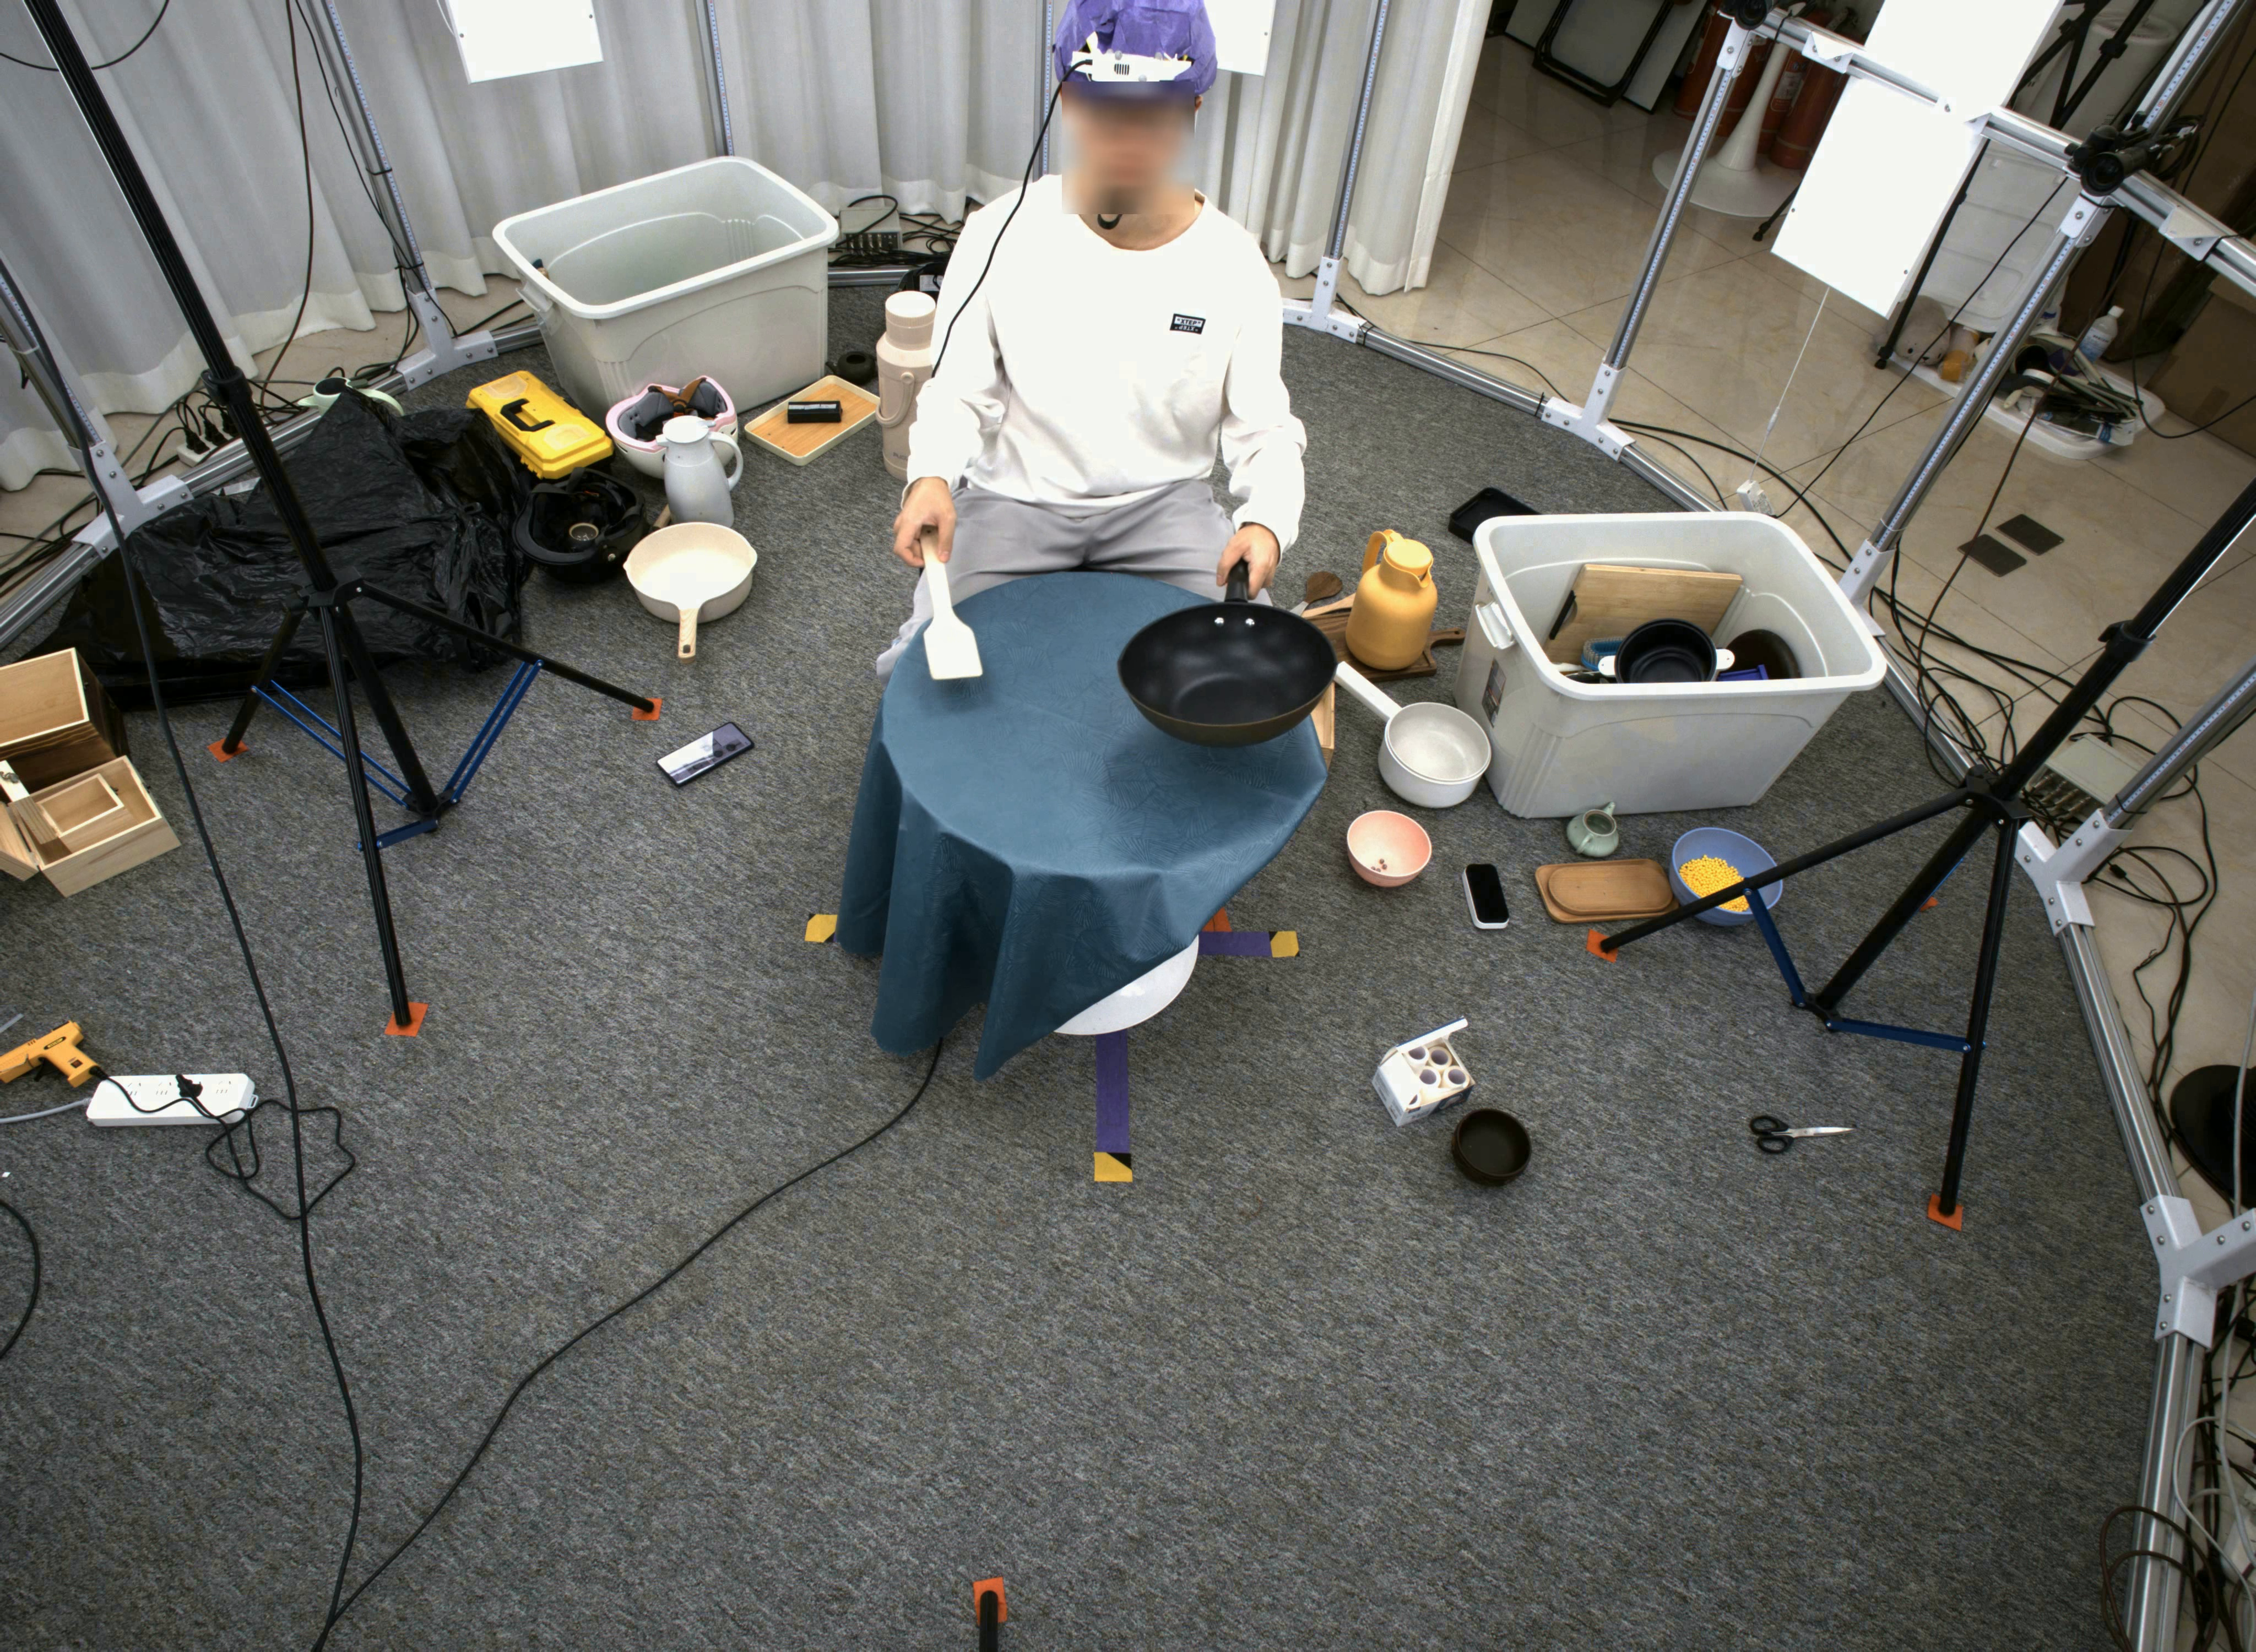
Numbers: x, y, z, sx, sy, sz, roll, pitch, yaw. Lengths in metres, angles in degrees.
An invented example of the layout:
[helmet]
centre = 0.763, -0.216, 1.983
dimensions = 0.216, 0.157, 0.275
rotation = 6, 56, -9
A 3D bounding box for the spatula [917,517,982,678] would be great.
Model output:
[spatula]
centre = -0.268, -0.330, 1.844
dimensions = 0.072, 0.010, 0.299
rotation = -7, 60, -14

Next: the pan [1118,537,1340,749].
[pan]
centre = 0.144, -0.247, 1.754
dimensions = 0.288, 0.085, 0.474
rotation = 2, 41, 9
